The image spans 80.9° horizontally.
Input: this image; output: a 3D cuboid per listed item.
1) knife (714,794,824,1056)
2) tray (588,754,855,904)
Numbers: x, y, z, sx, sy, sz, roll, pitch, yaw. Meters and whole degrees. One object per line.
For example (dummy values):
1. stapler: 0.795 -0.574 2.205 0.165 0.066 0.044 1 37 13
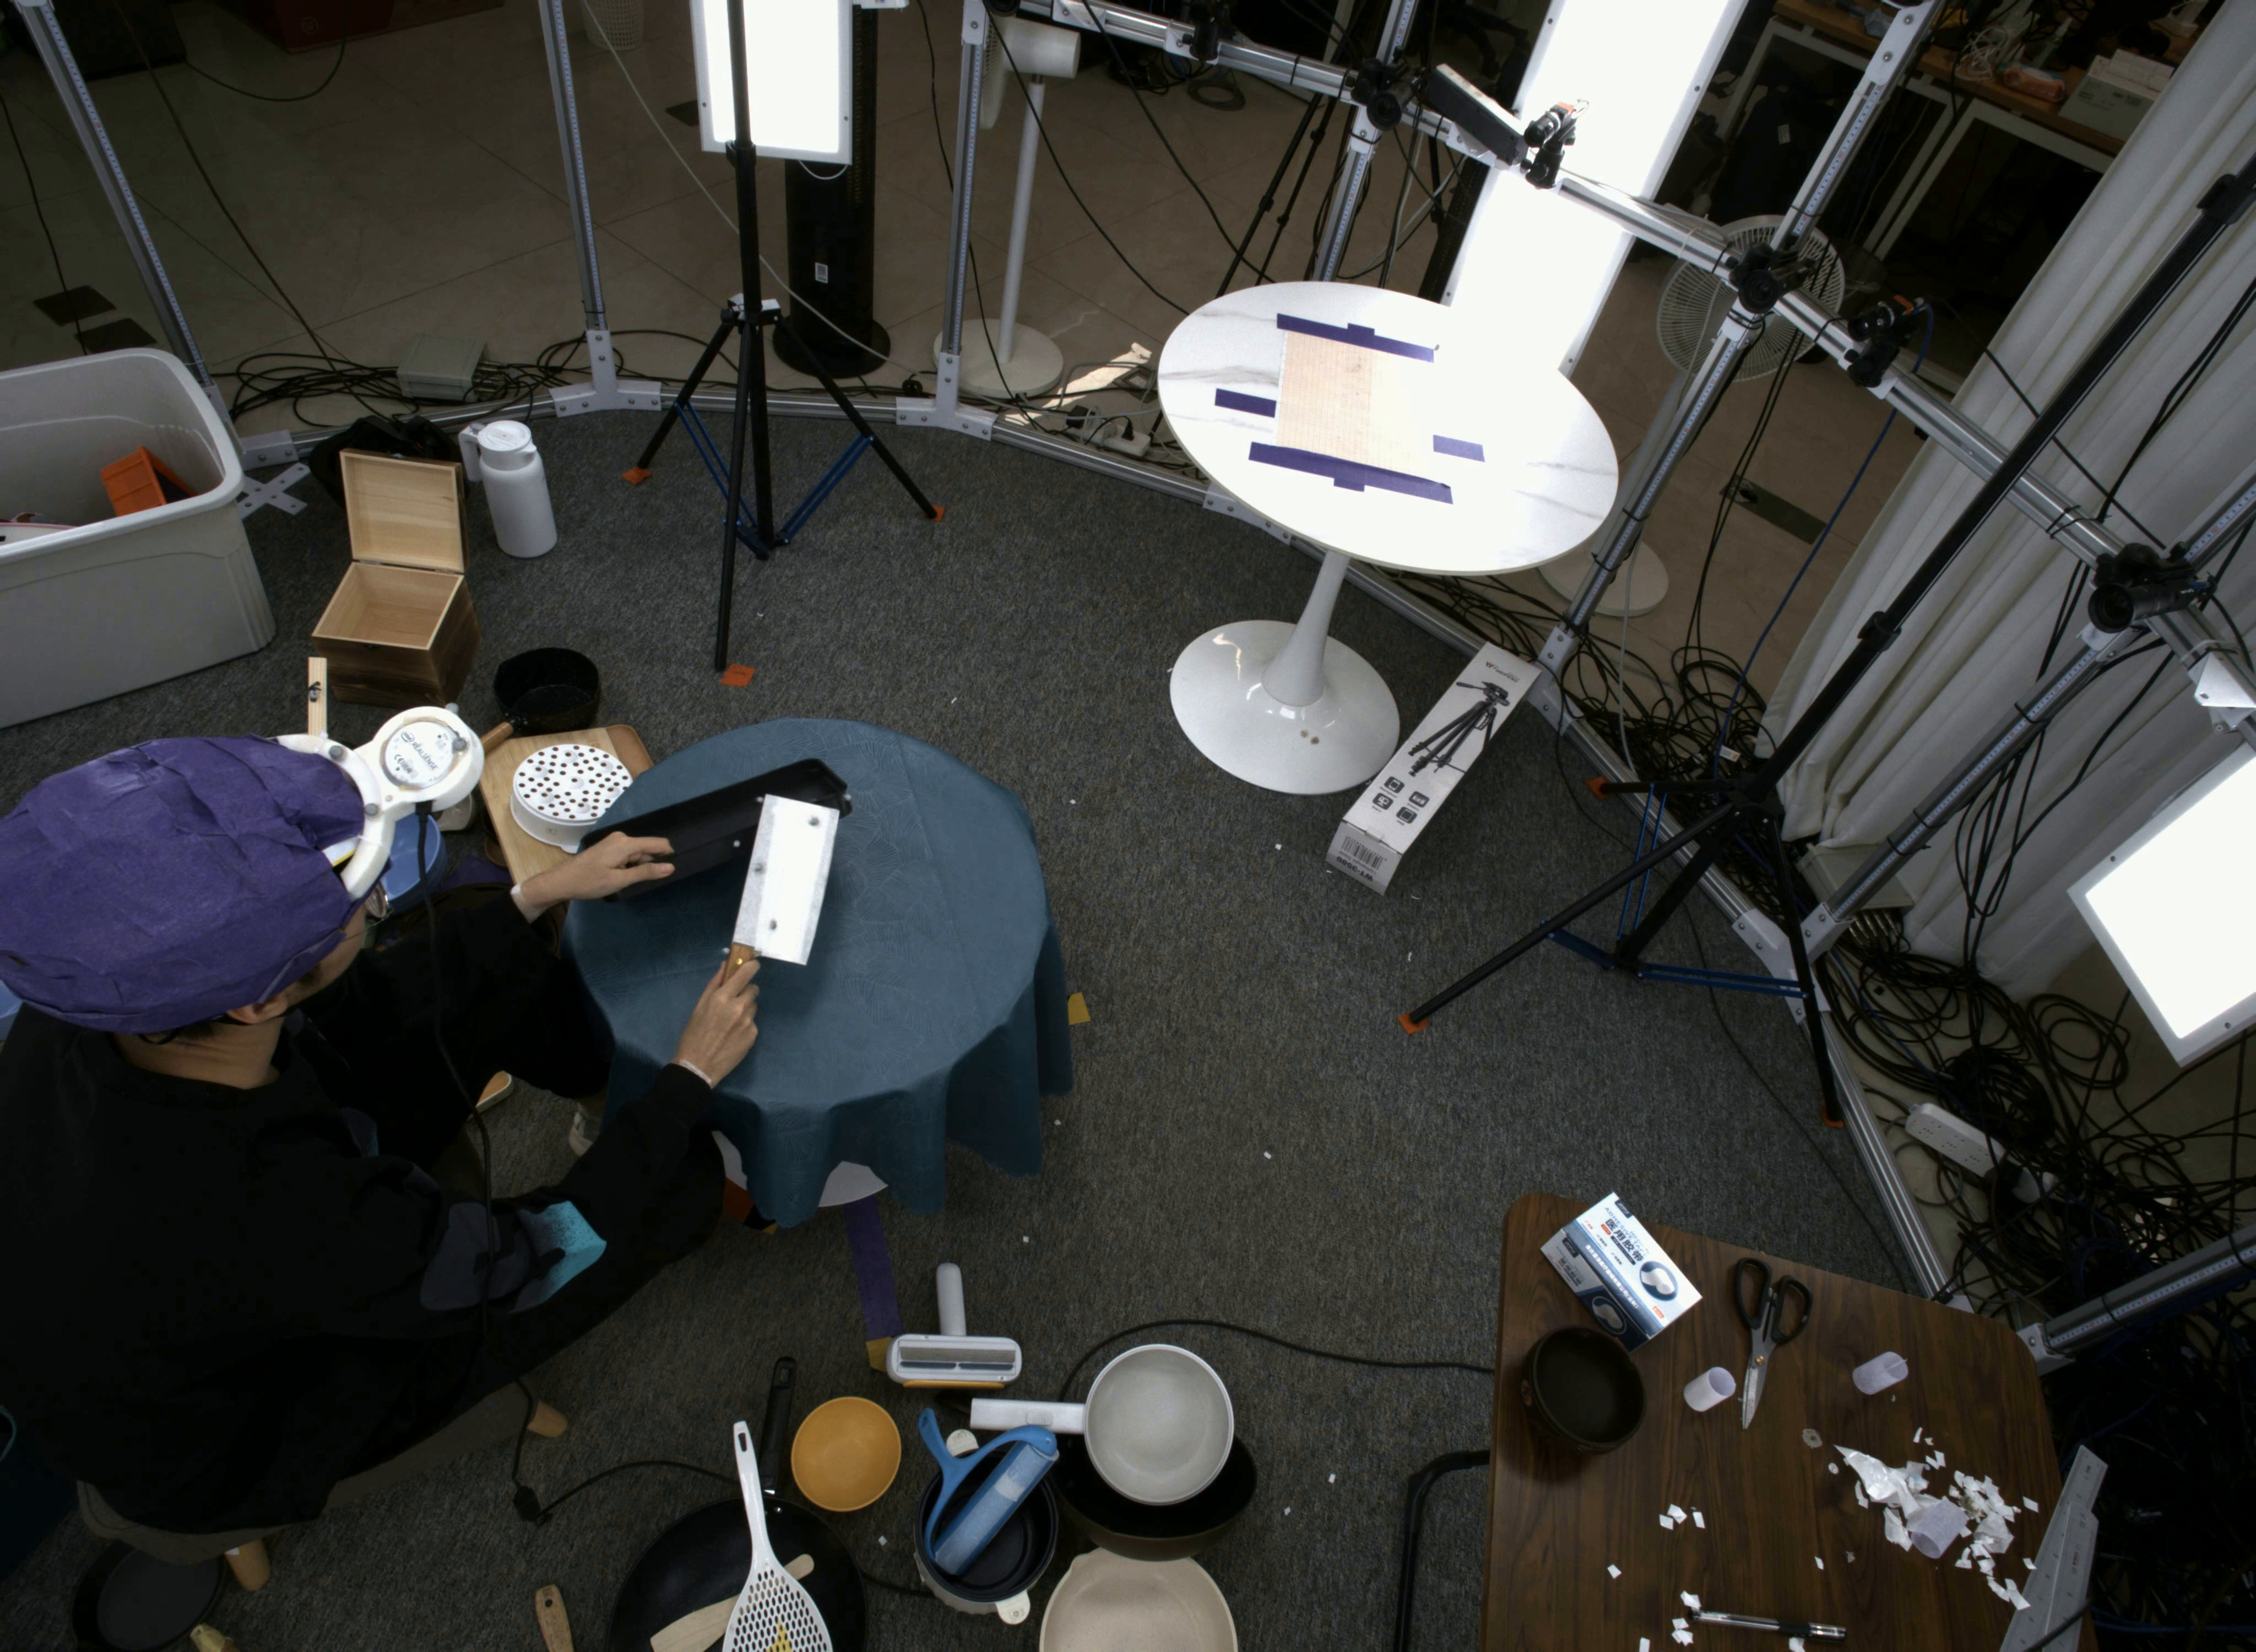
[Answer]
1. knife: -0.412 0.115 1.501 0.094 0.021 0.306 12 79 -18
2. tray: -0.506 -0.004 1.595 0.319 0.038 0.178 -24 25 -23
